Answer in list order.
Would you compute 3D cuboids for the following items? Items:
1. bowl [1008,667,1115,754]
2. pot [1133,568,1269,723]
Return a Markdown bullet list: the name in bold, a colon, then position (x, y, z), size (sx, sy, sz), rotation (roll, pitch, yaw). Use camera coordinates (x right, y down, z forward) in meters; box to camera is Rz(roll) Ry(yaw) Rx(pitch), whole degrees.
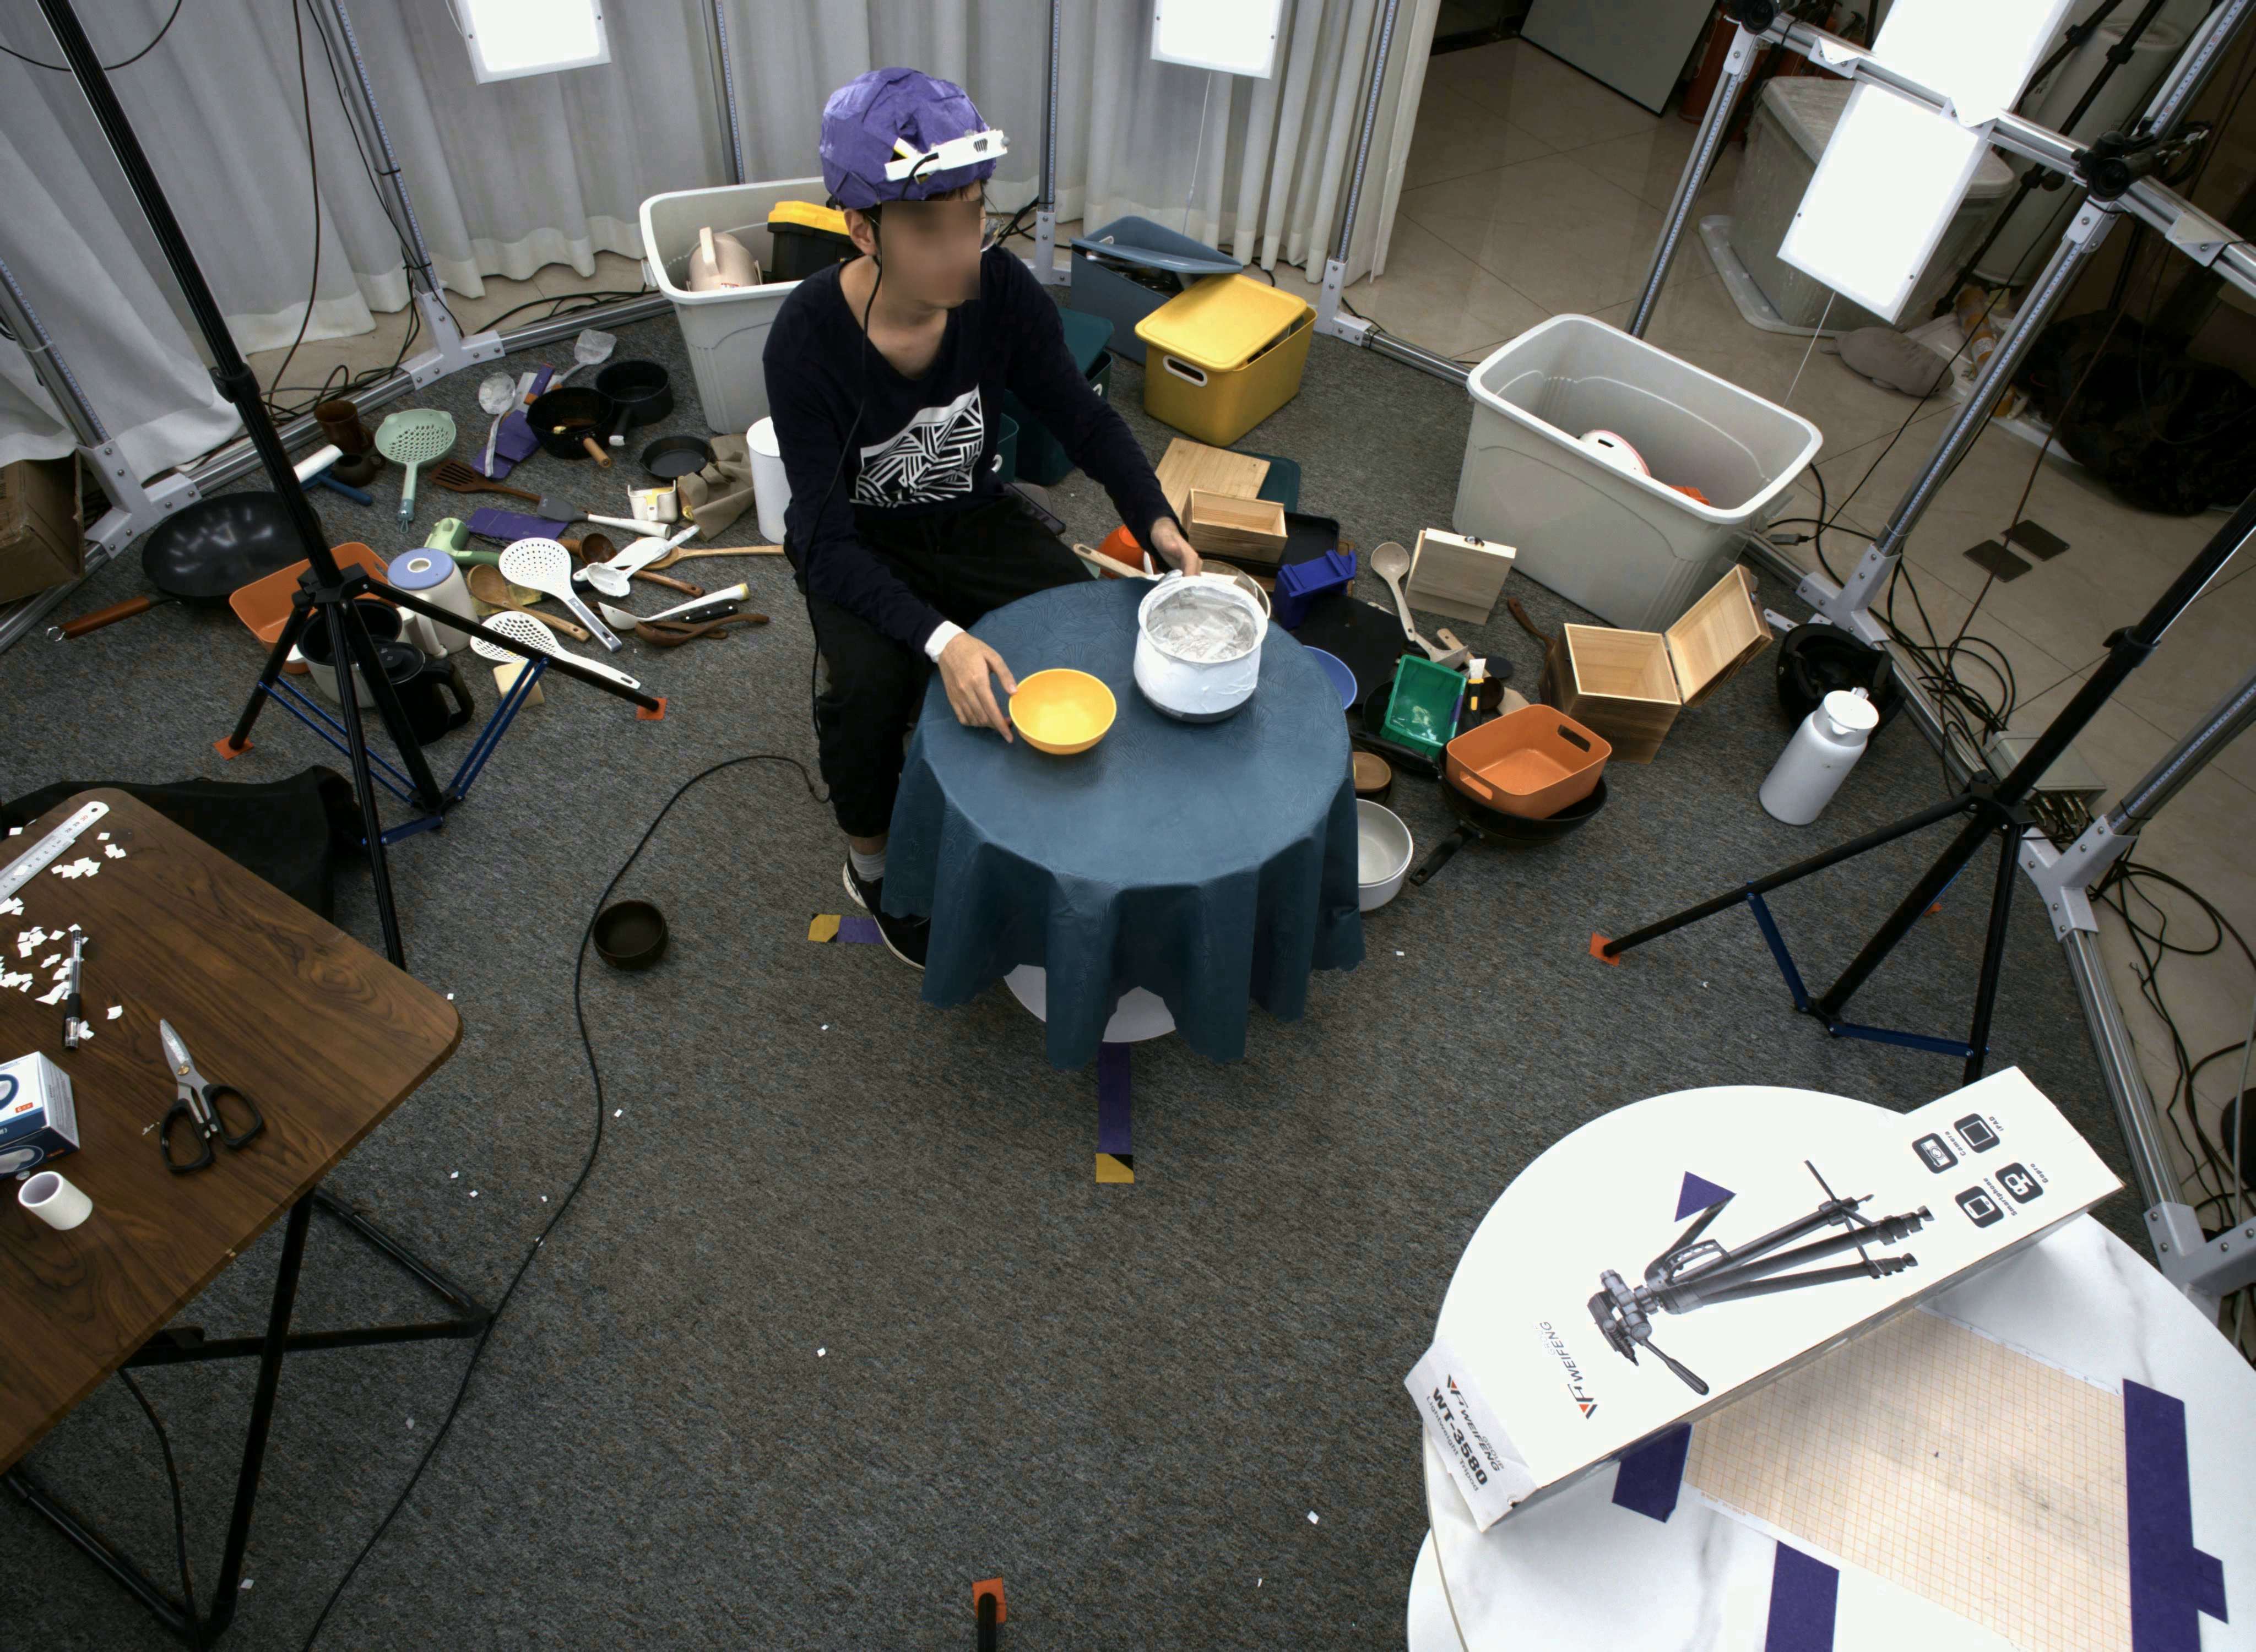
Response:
- **bowl**: position (-0.092, -0.146, 1.747), size (0.145, 0.058, 0.149), rotation (3, 49, -3)
- **pot**: position (0.088, -0.264, 1.813), size (0.179, 0.133, 0.239), rotation (-13, 52, -18)
